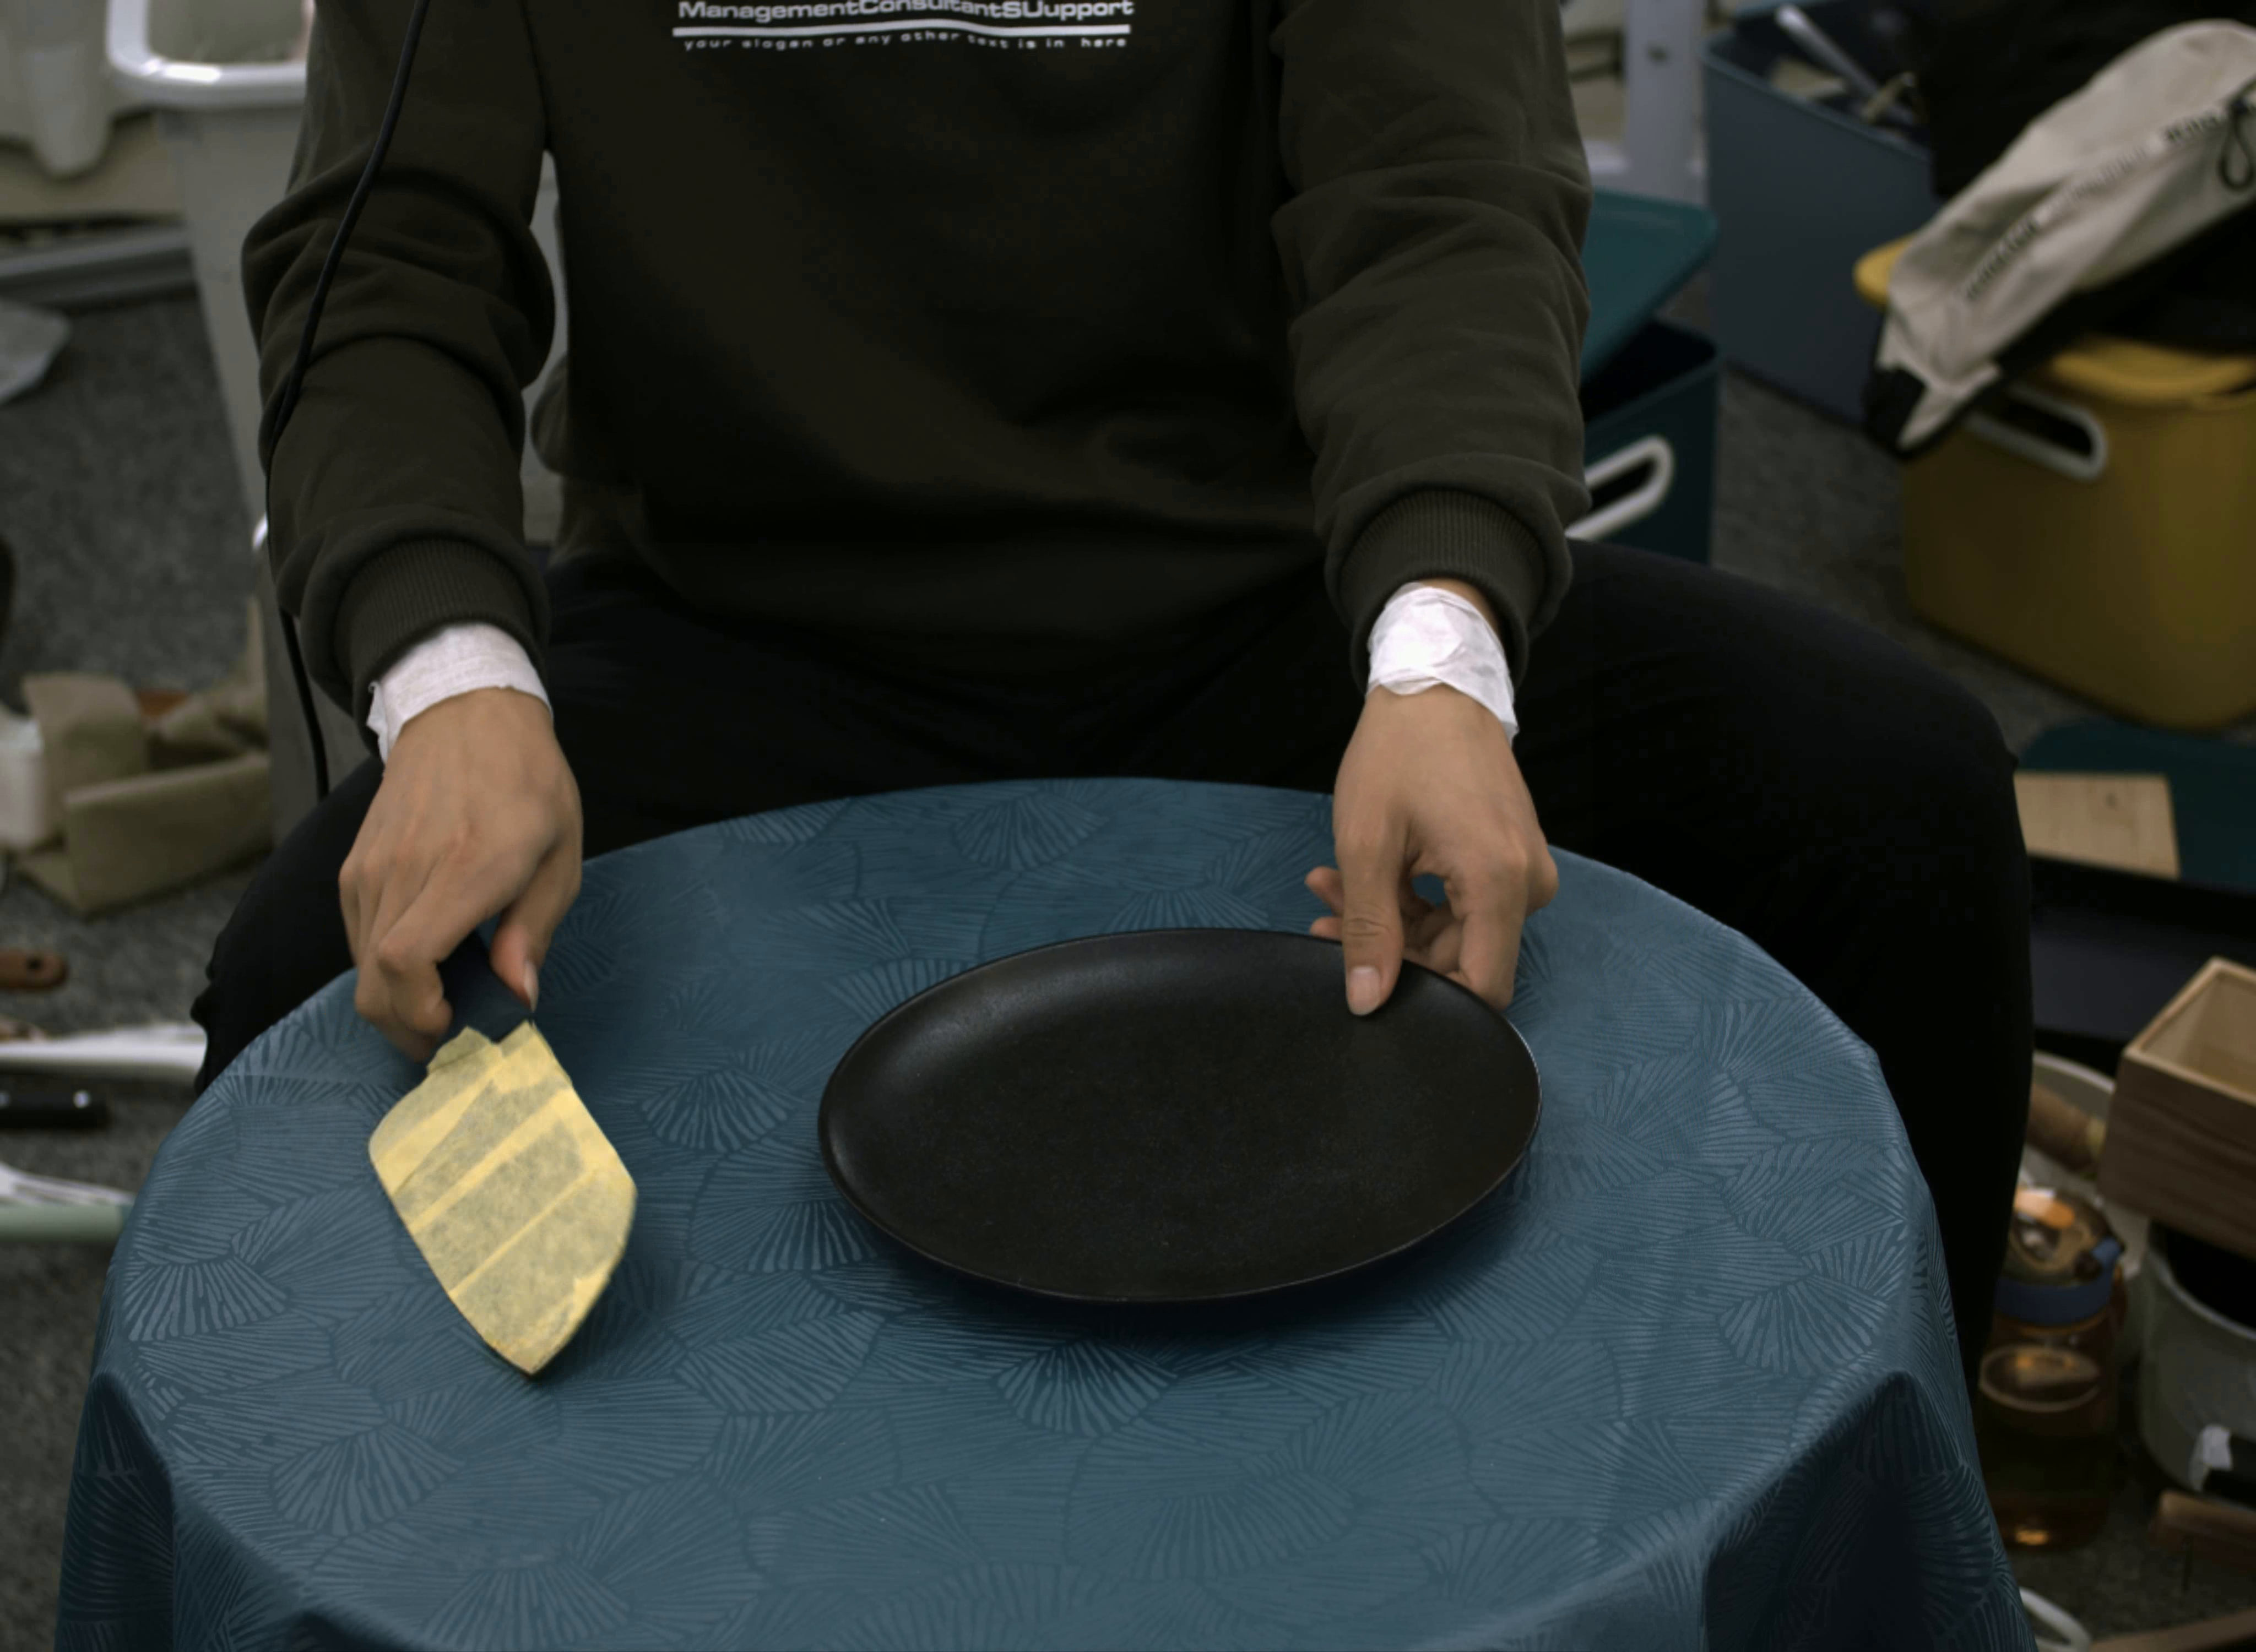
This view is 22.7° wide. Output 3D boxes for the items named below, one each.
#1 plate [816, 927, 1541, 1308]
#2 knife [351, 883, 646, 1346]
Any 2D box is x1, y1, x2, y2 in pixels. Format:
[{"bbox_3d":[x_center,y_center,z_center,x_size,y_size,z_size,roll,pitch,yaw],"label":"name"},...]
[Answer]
[{"bbox_3d":[0.017,0.101,1.875,0.243,0.023,0.248,-2,27,1],"label":"plate"},{"bbox_3d":[-0.224,0.096,1.891,0.081,0.027,0.292,-33,34,-3],"label":"knife"}]
